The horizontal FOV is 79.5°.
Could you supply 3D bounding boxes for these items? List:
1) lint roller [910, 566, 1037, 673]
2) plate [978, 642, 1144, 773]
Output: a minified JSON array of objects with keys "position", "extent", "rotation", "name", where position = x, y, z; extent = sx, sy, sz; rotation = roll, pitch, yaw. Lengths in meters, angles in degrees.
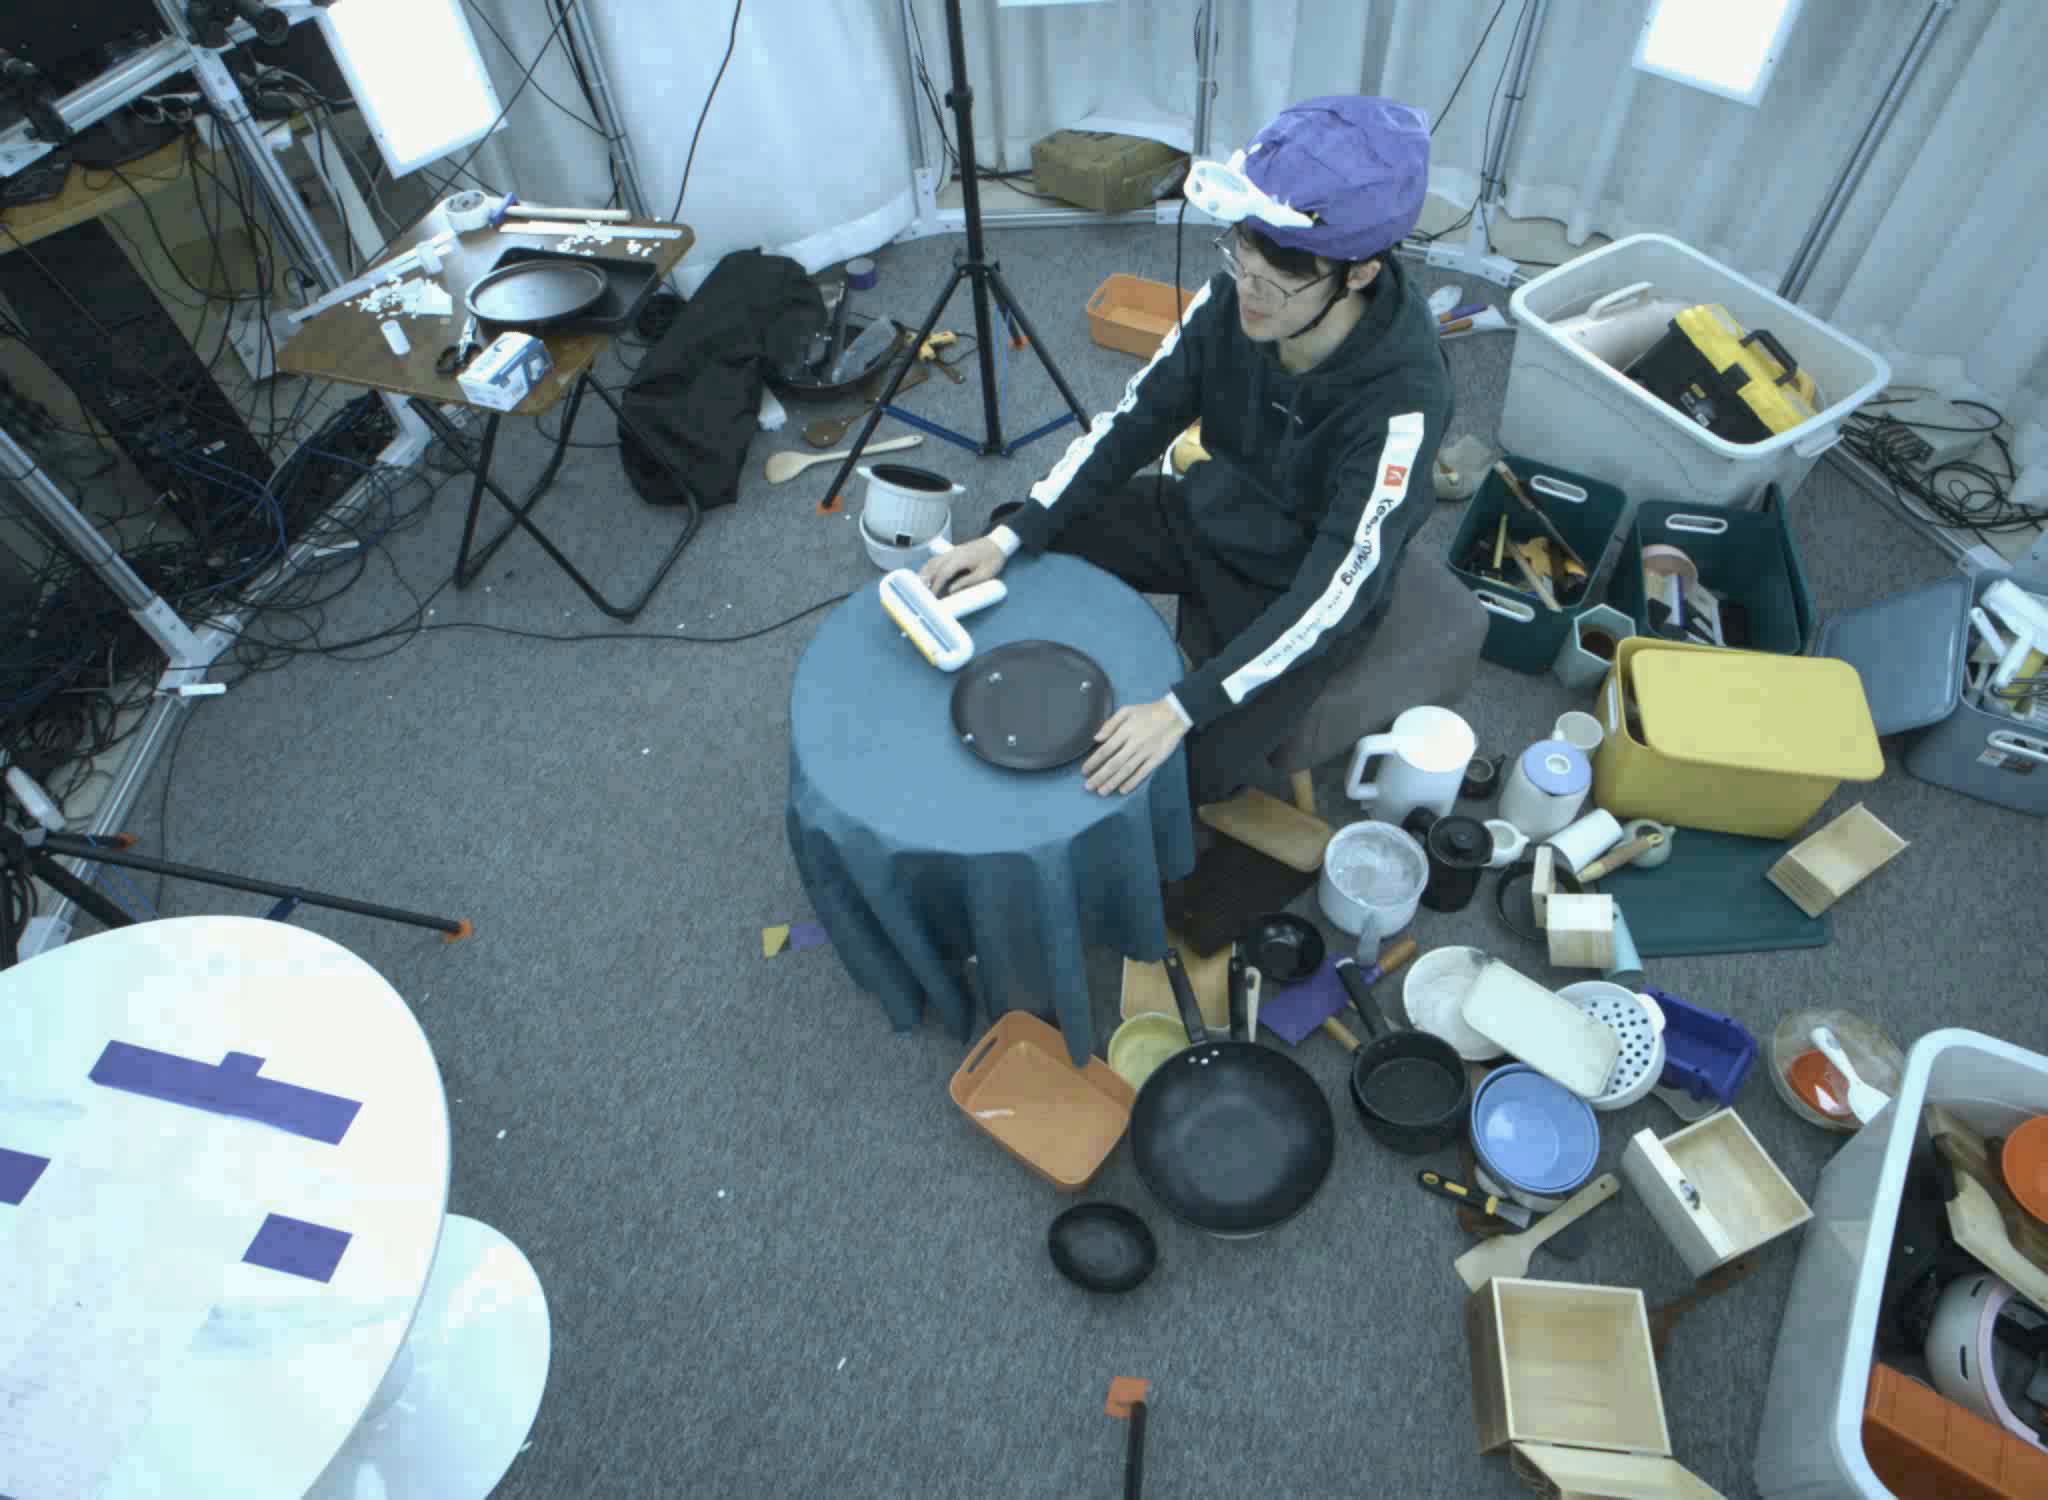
[{"position":[-0.061,-0.212,1.918],"extent":[0.195,0.074,0.190],"rotation":[-20,62,-29],"name":"lint roller"},{"position":[0.054,-0.060,1.810],"extent":[0.244,0.024,0.242],"rotation":[-1,54,2],"name":"plate"}]
